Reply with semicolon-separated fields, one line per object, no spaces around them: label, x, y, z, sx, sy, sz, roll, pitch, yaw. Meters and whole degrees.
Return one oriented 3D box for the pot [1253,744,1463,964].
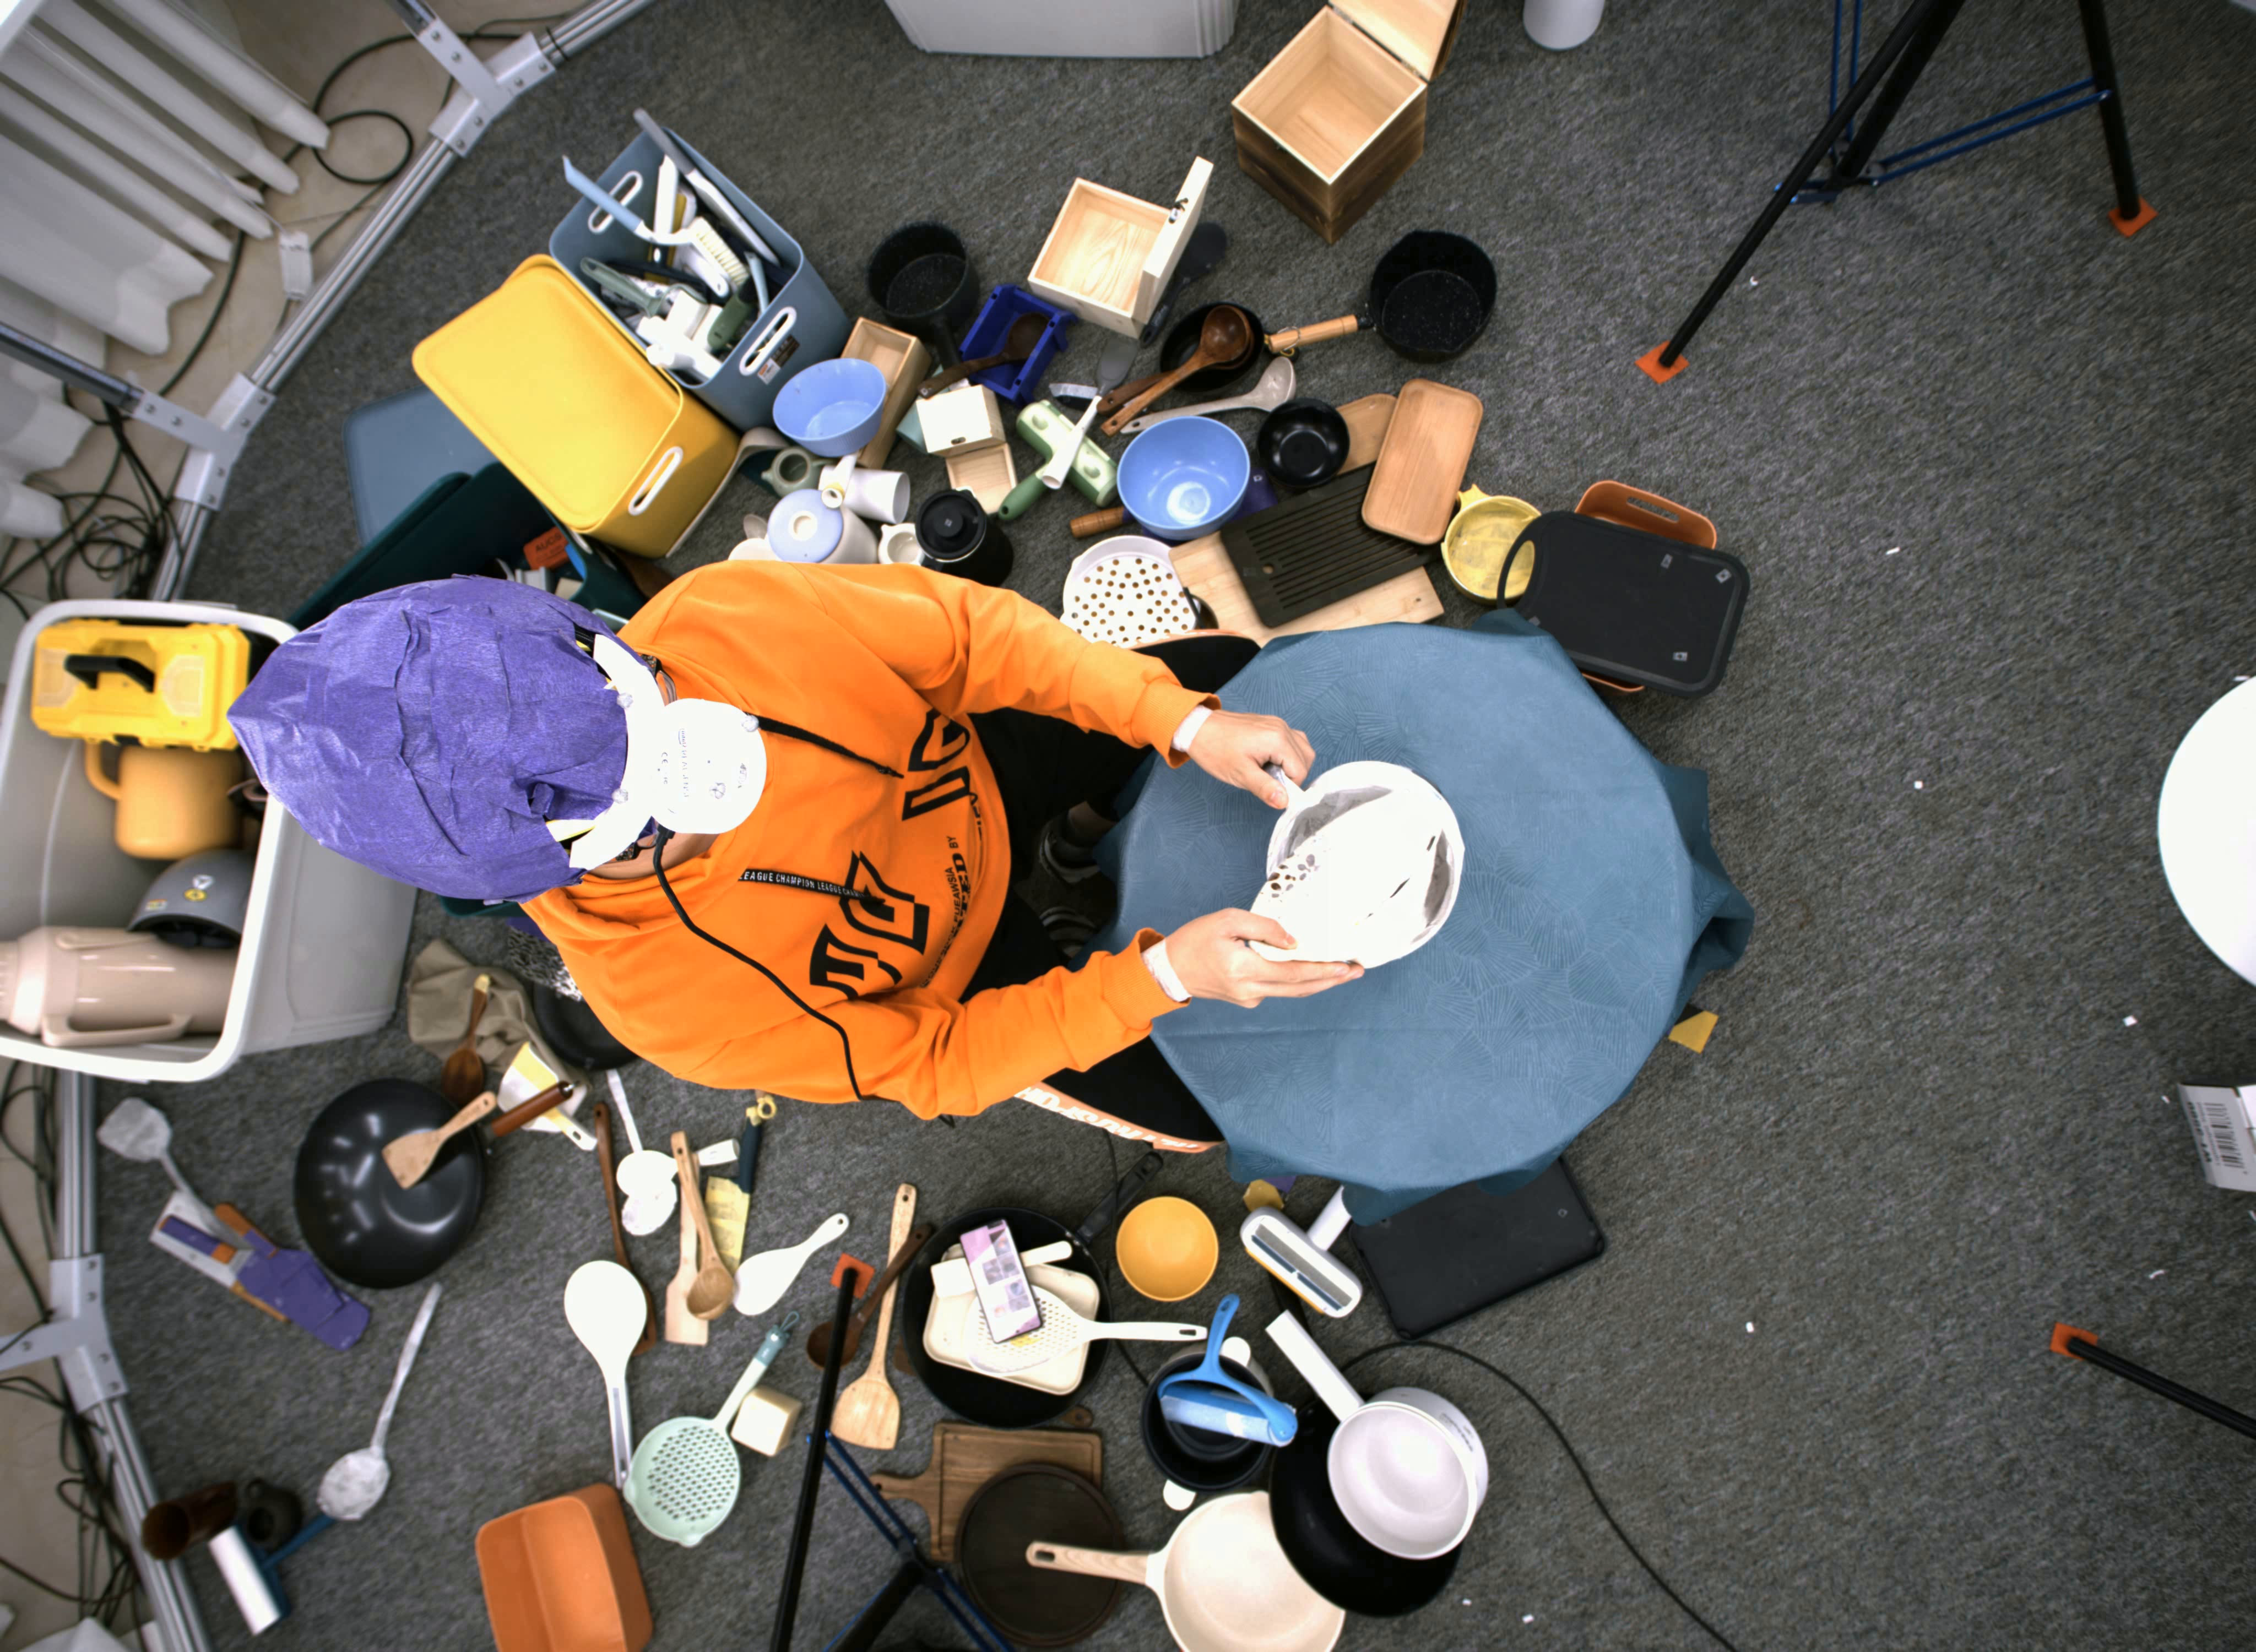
pot;0.210;0.012;1.327;0.233;0.135;0.181;40;108;4

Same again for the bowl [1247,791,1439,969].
bowl;0.206;0.065;1.205;0.205;0.201;0.078;-43;108;4
